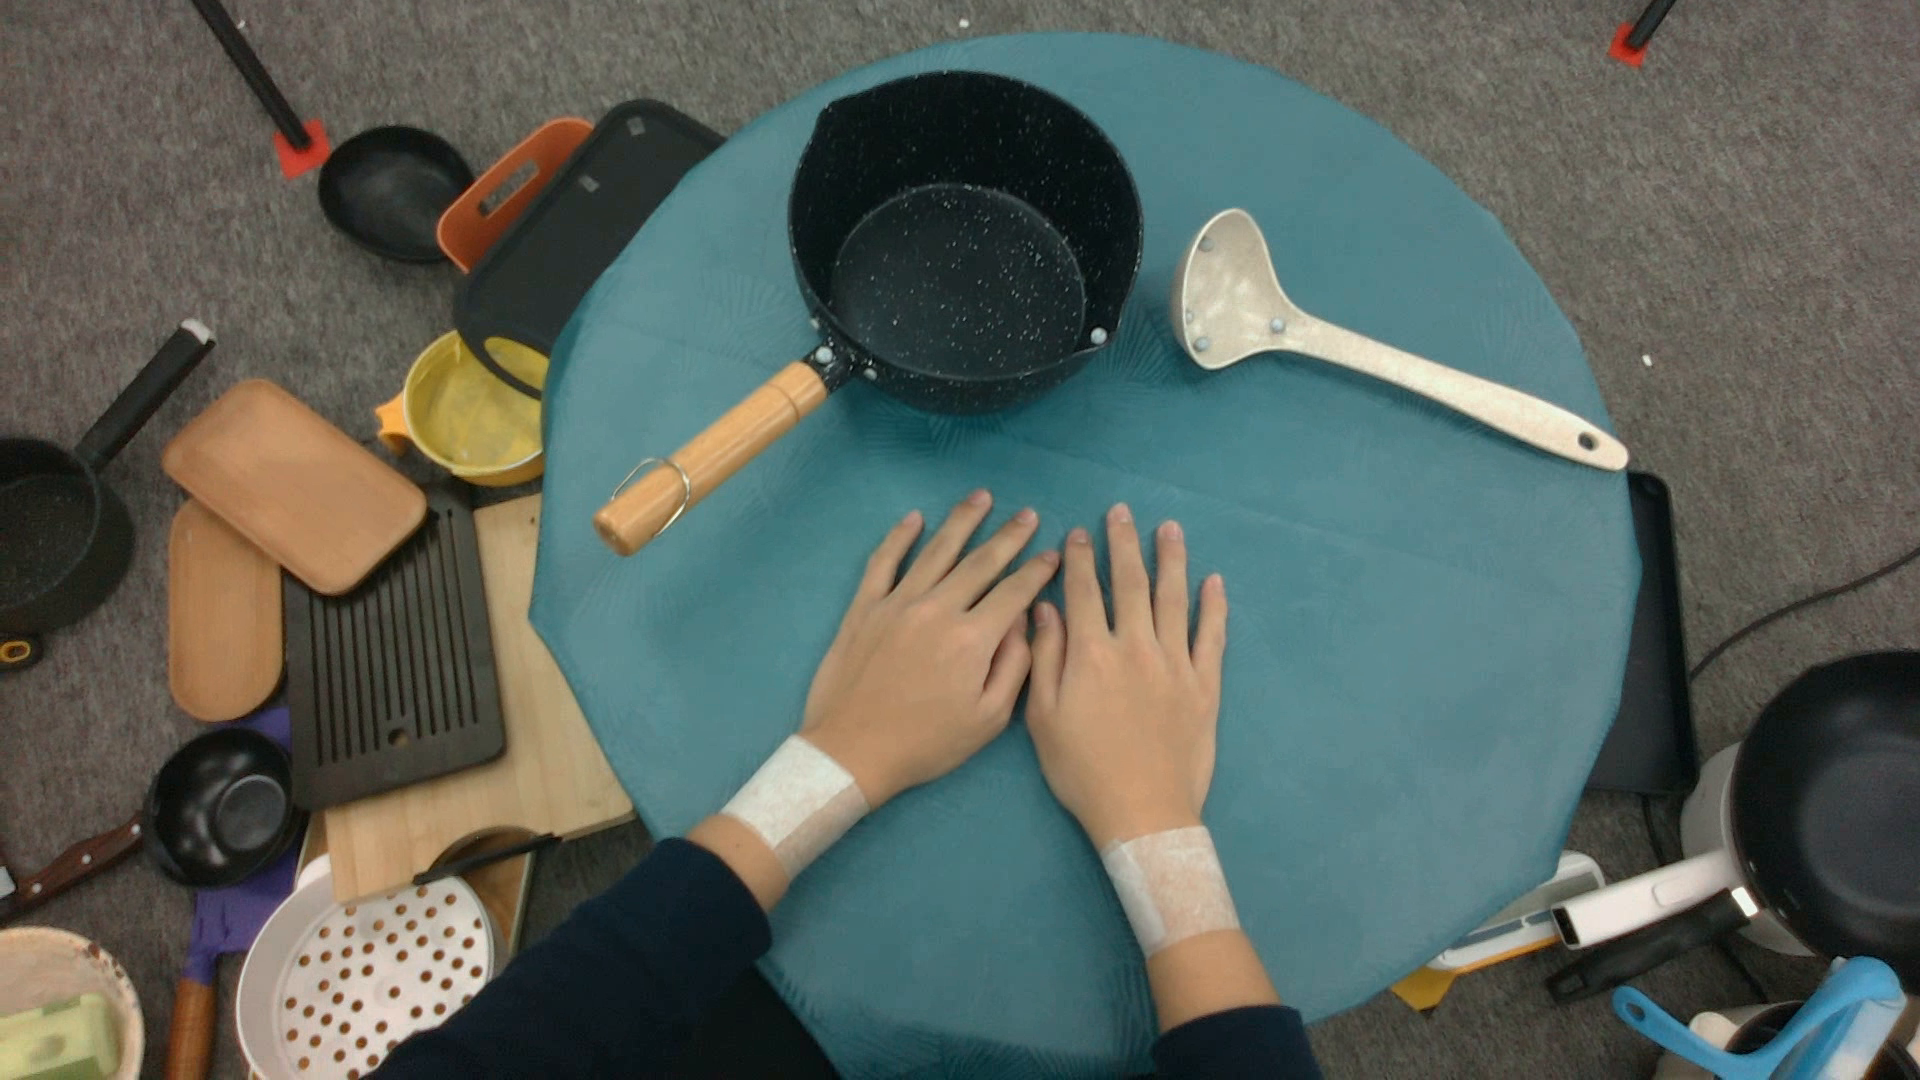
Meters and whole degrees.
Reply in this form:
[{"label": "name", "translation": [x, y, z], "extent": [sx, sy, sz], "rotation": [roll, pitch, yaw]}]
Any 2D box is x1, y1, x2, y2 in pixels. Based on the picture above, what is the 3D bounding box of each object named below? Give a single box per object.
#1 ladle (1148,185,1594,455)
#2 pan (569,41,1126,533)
[{"label": "ladle", "translation": [0.234, -0.111, 0.757], "extent": [0.275, 0.069, 0.089], "rotation": [22, 77, 2]}, {"label": "pan", "translation": [-0.060, -0.112, 0.711], "extent": [0.207, 0.108, 0.344], "rotation": [40, 72, 7]}]
